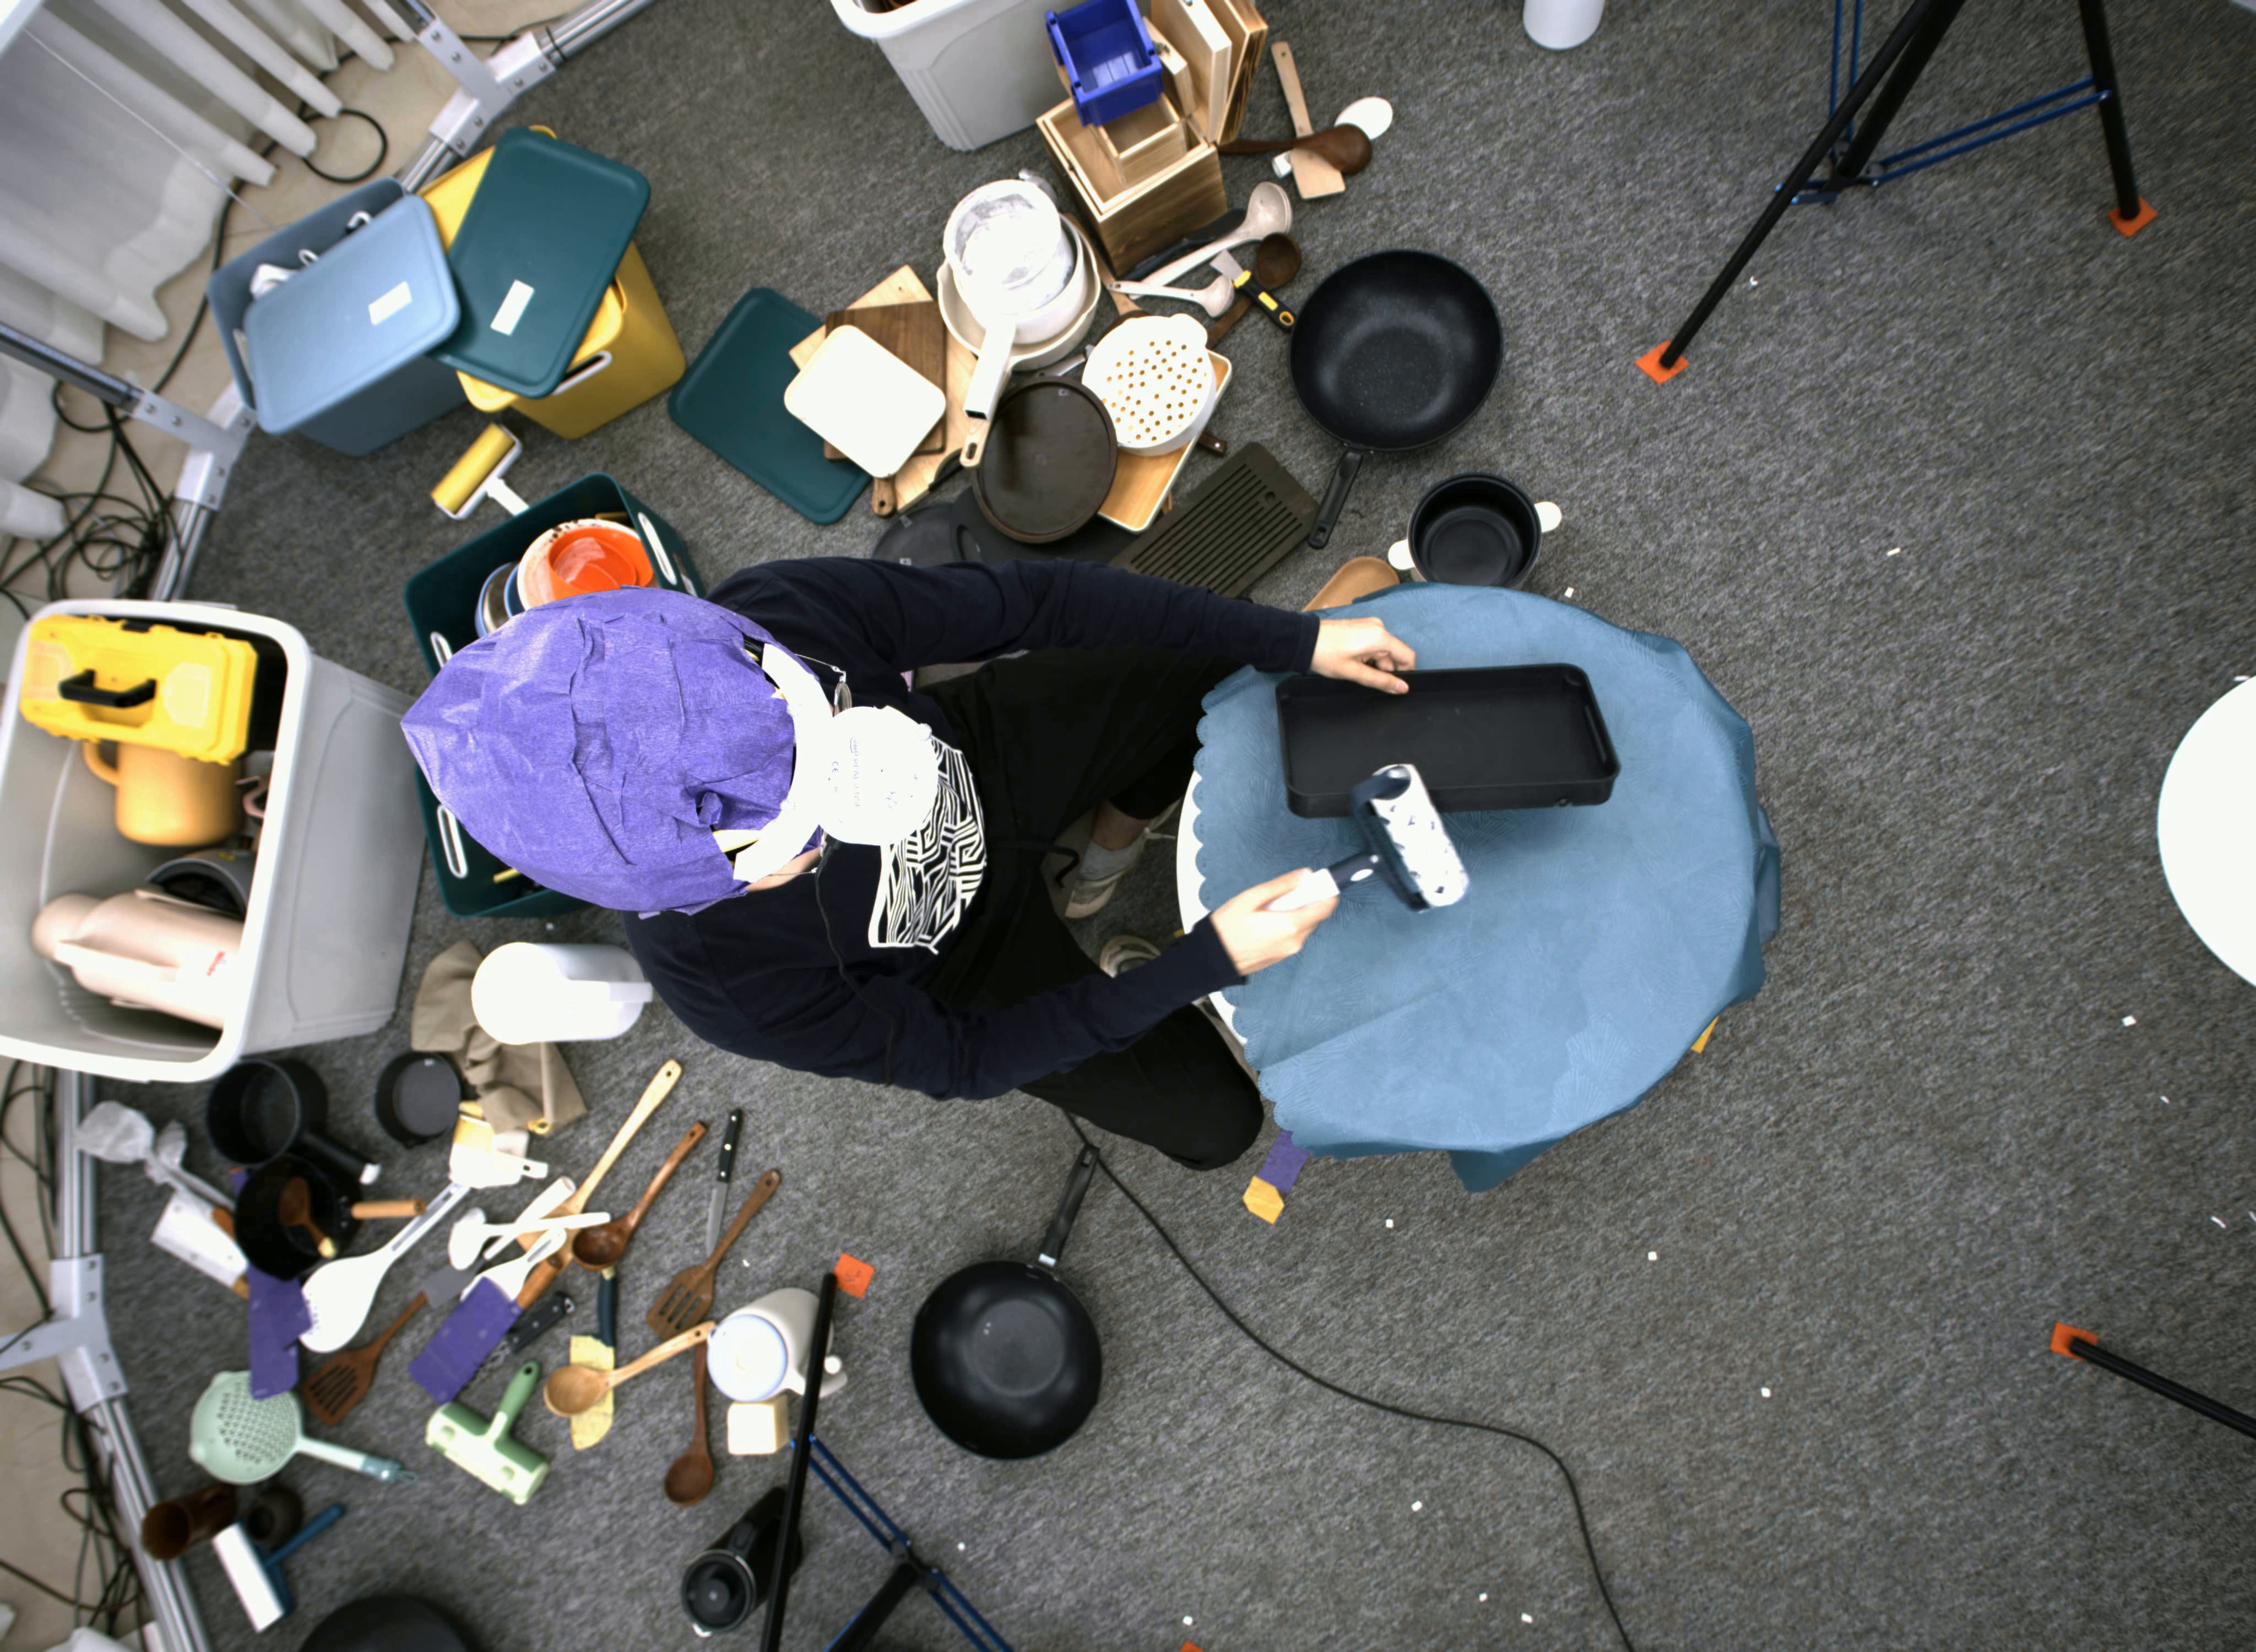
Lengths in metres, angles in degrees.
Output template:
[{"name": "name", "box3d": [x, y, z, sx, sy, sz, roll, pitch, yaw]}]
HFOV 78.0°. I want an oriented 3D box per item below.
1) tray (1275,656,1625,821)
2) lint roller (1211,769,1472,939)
[{"name": "tray", "box3d": [0.310, -0.090, 1.356, 0.319, 0.038, 0.179, -5, 45, 5]}, {"name": "lint roller", "box3d": [0.195, 0.056, 1.325, 0.249, 0.179, 0.049, -27, 44, 13]}]
